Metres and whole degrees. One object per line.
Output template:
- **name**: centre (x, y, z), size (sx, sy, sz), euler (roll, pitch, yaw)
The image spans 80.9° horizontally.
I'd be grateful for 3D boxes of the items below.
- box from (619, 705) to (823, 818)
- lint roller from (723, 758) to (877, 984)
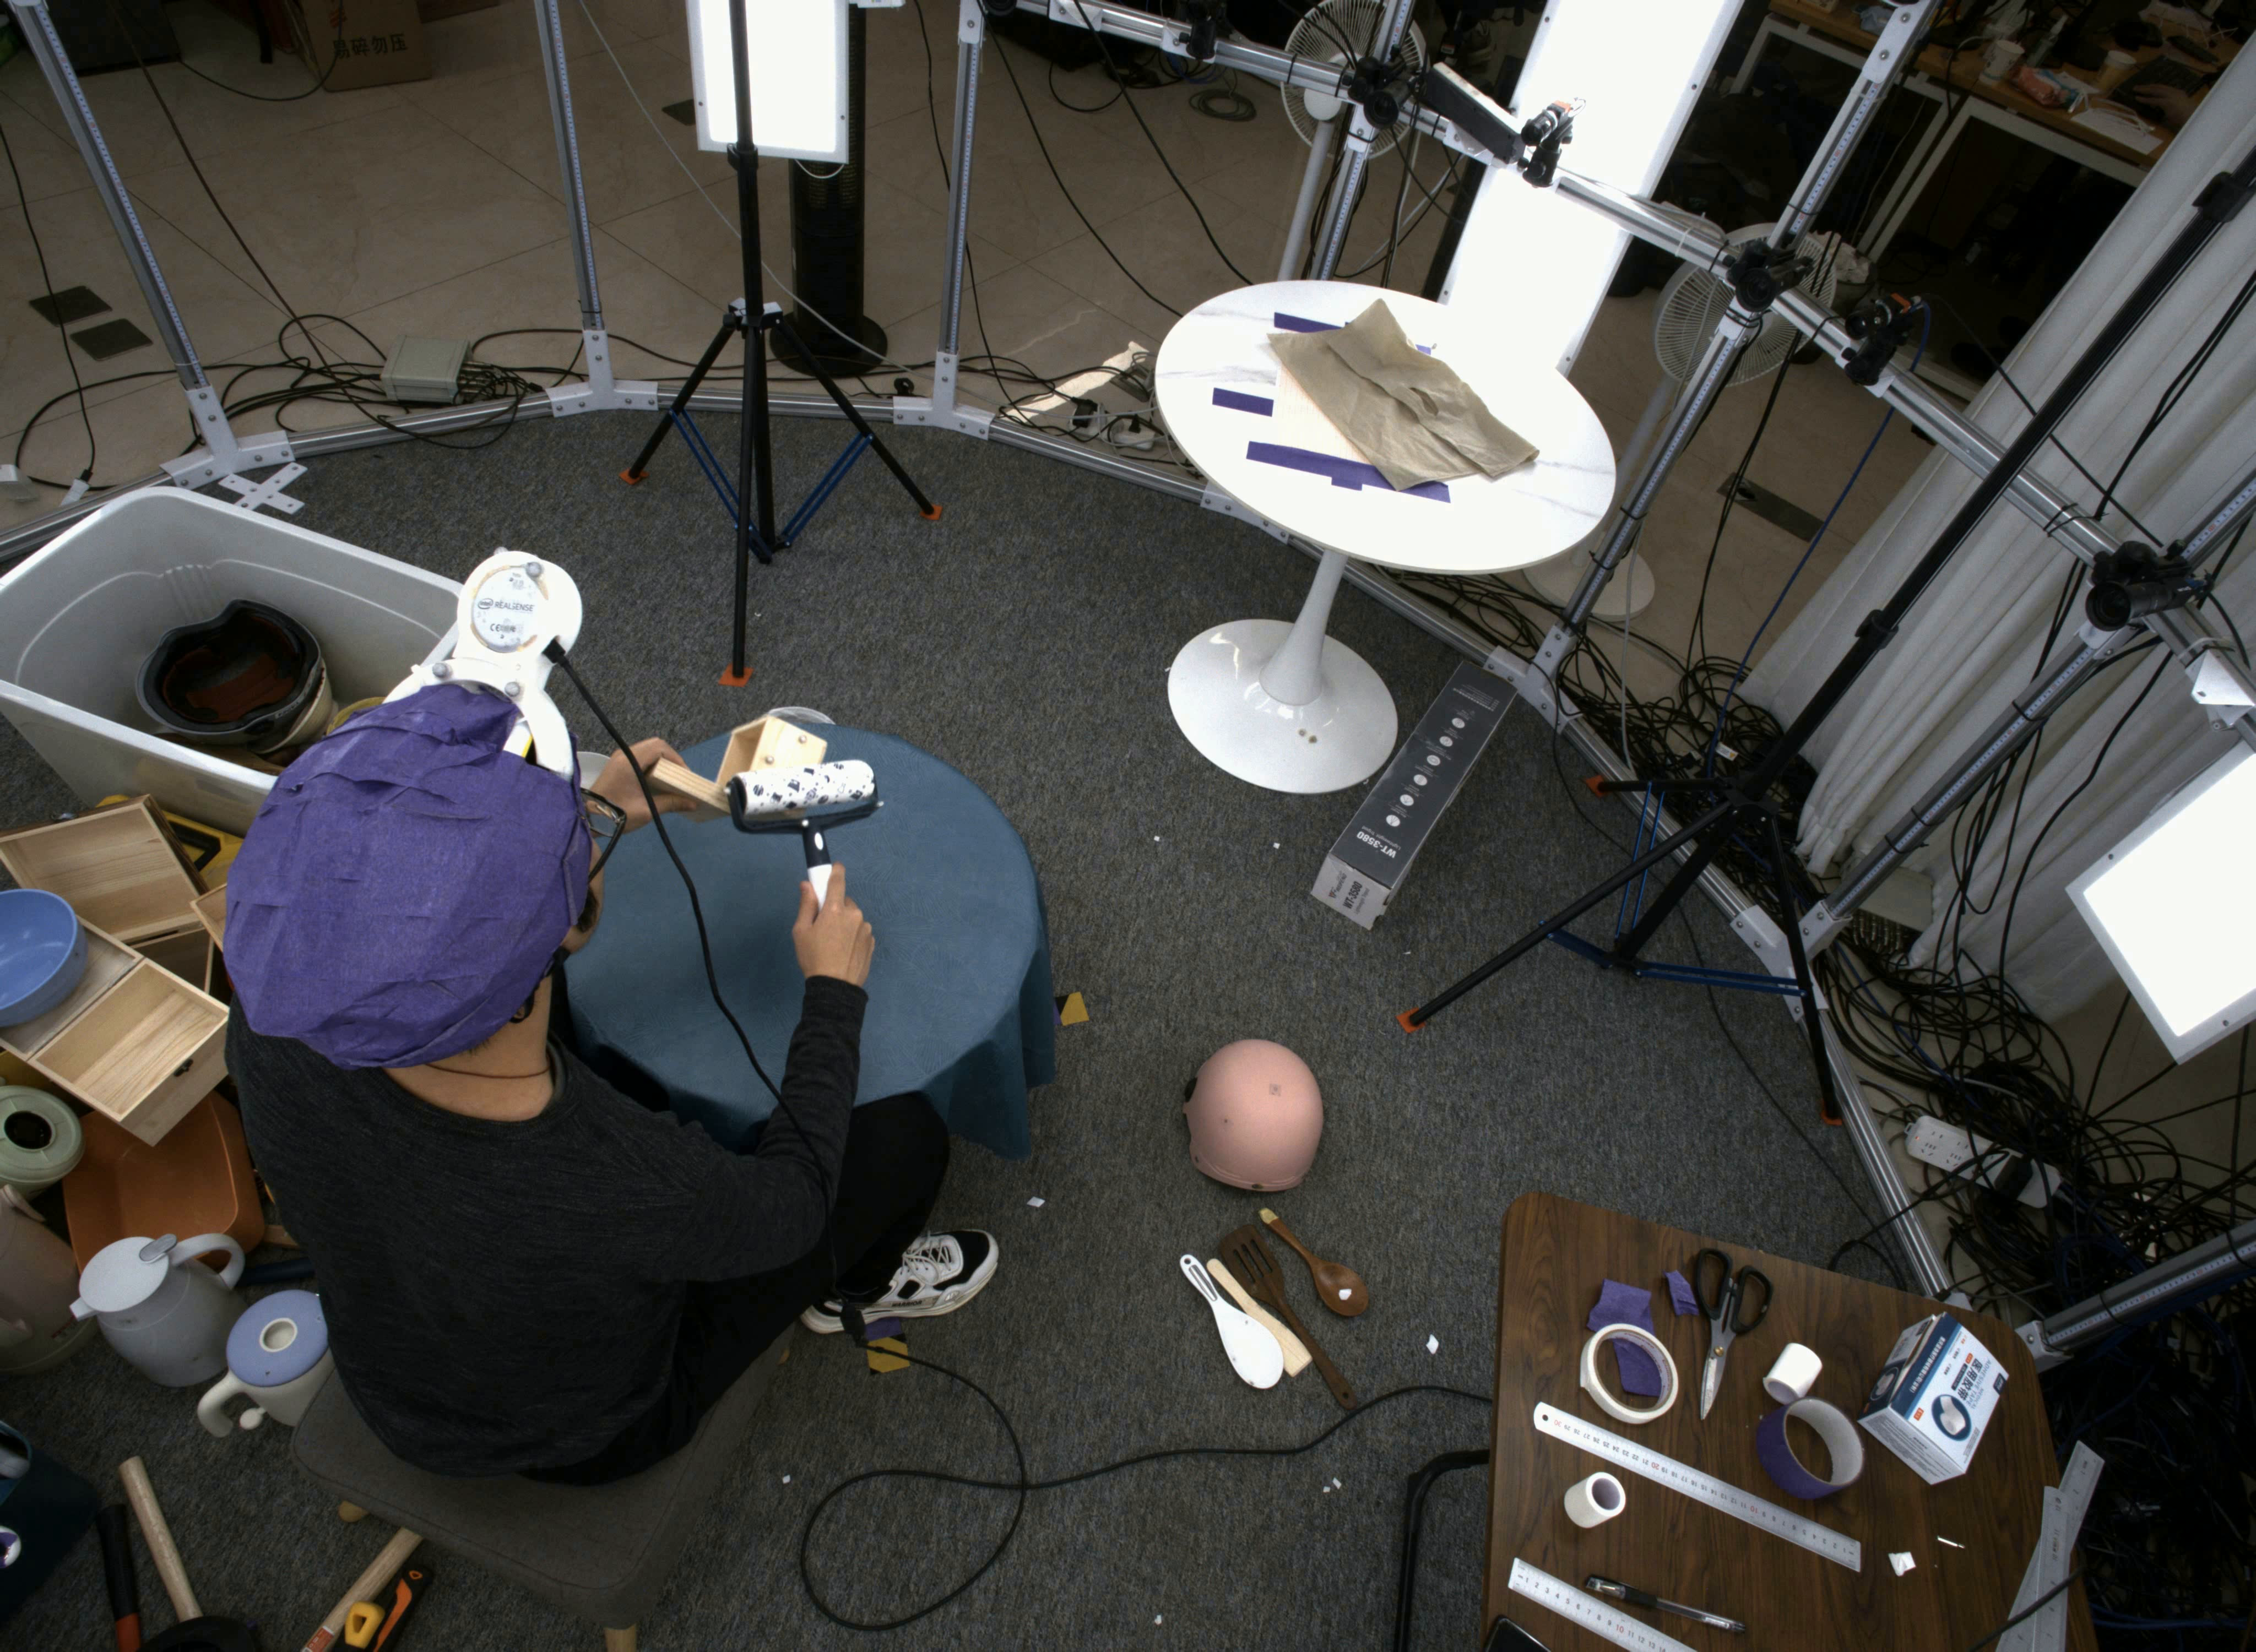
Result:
- **box**: centre (-0.464, -0.081, 1.468), size (0.190, 0.100, 0.133), euler (26, 68, -36)
- **lint roller**: centre (-0.343, 0.050, 1.452), size (0.179, 0.049, 0.249), euler (-12, 88, -43)
